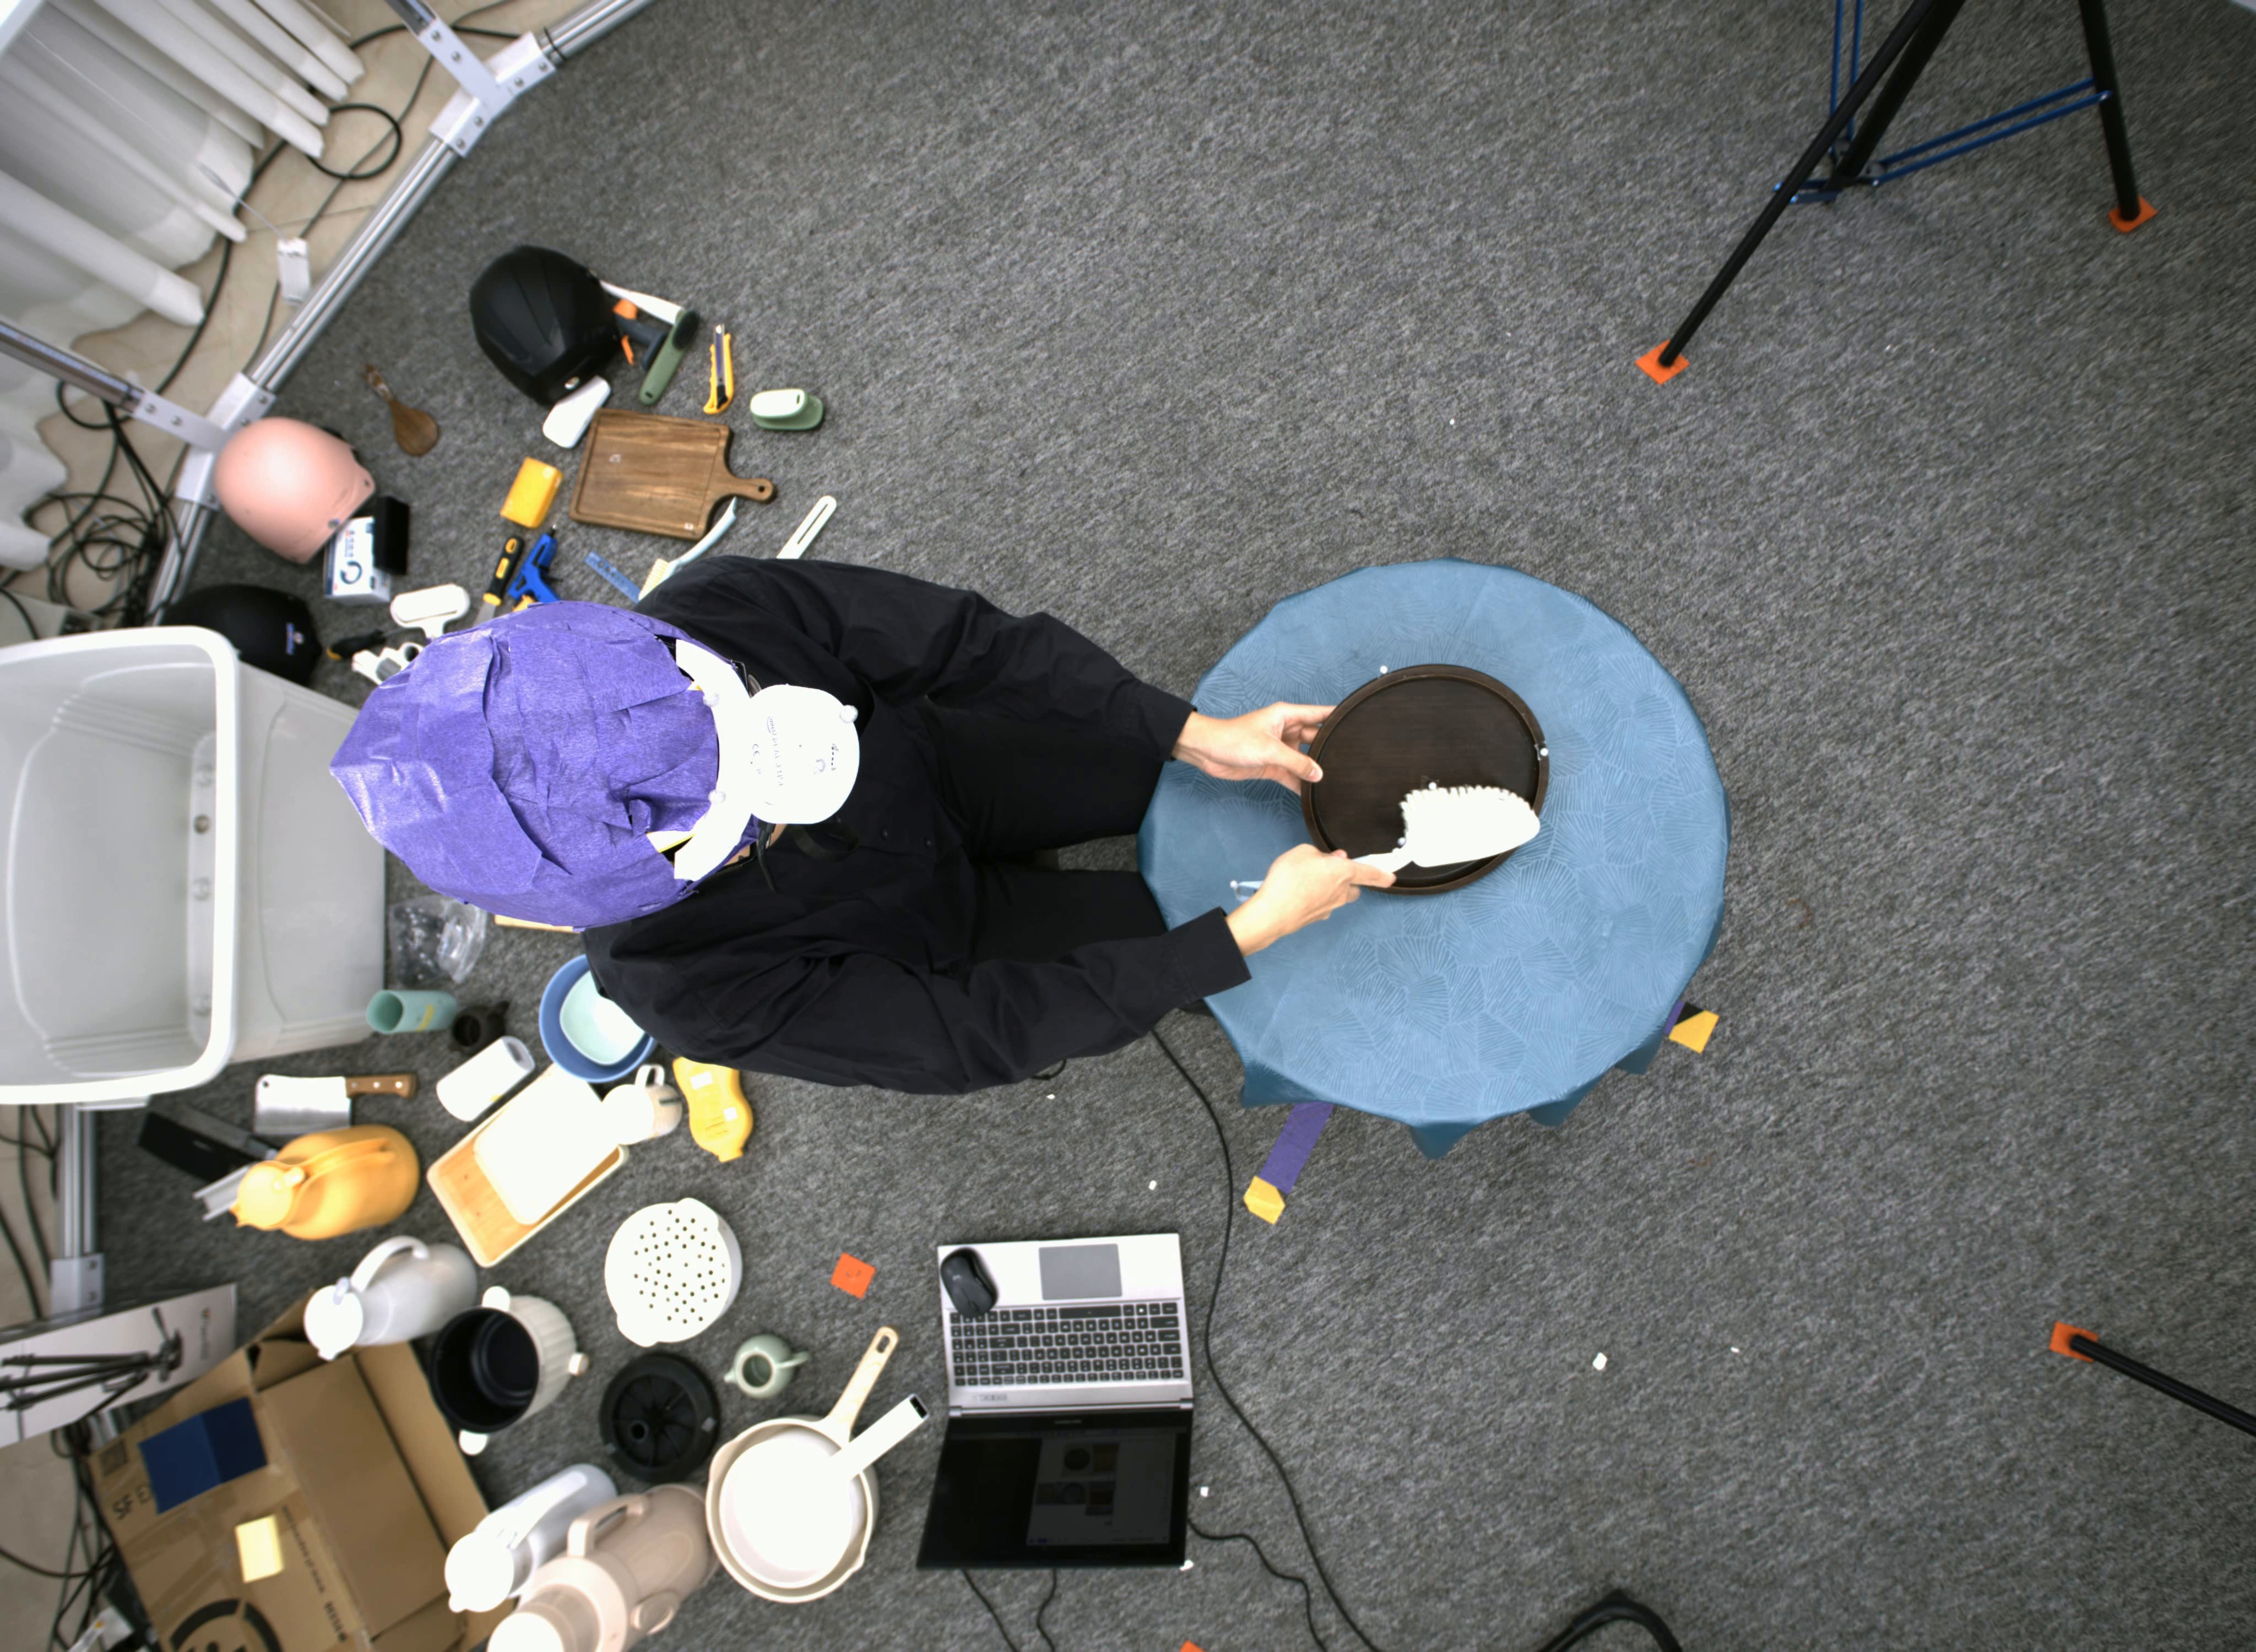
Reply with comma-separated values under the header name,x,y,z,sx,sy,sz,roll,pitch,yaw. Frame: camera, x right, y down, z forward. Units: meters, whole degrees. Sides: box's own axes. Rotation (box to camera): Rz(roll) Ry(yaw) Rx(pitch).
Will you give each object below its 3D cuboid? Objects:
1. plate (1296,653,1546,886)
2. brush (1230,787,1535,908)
name,x,y,z,sx,sy,sz,roll,pitch,yaw
plate,0.293,-0.056,1.379,0.255,0.028,0.260,-1,120,-2
brush,0.246,0.014,1.368,0.324,0.085,0.082,-13,82,-10
